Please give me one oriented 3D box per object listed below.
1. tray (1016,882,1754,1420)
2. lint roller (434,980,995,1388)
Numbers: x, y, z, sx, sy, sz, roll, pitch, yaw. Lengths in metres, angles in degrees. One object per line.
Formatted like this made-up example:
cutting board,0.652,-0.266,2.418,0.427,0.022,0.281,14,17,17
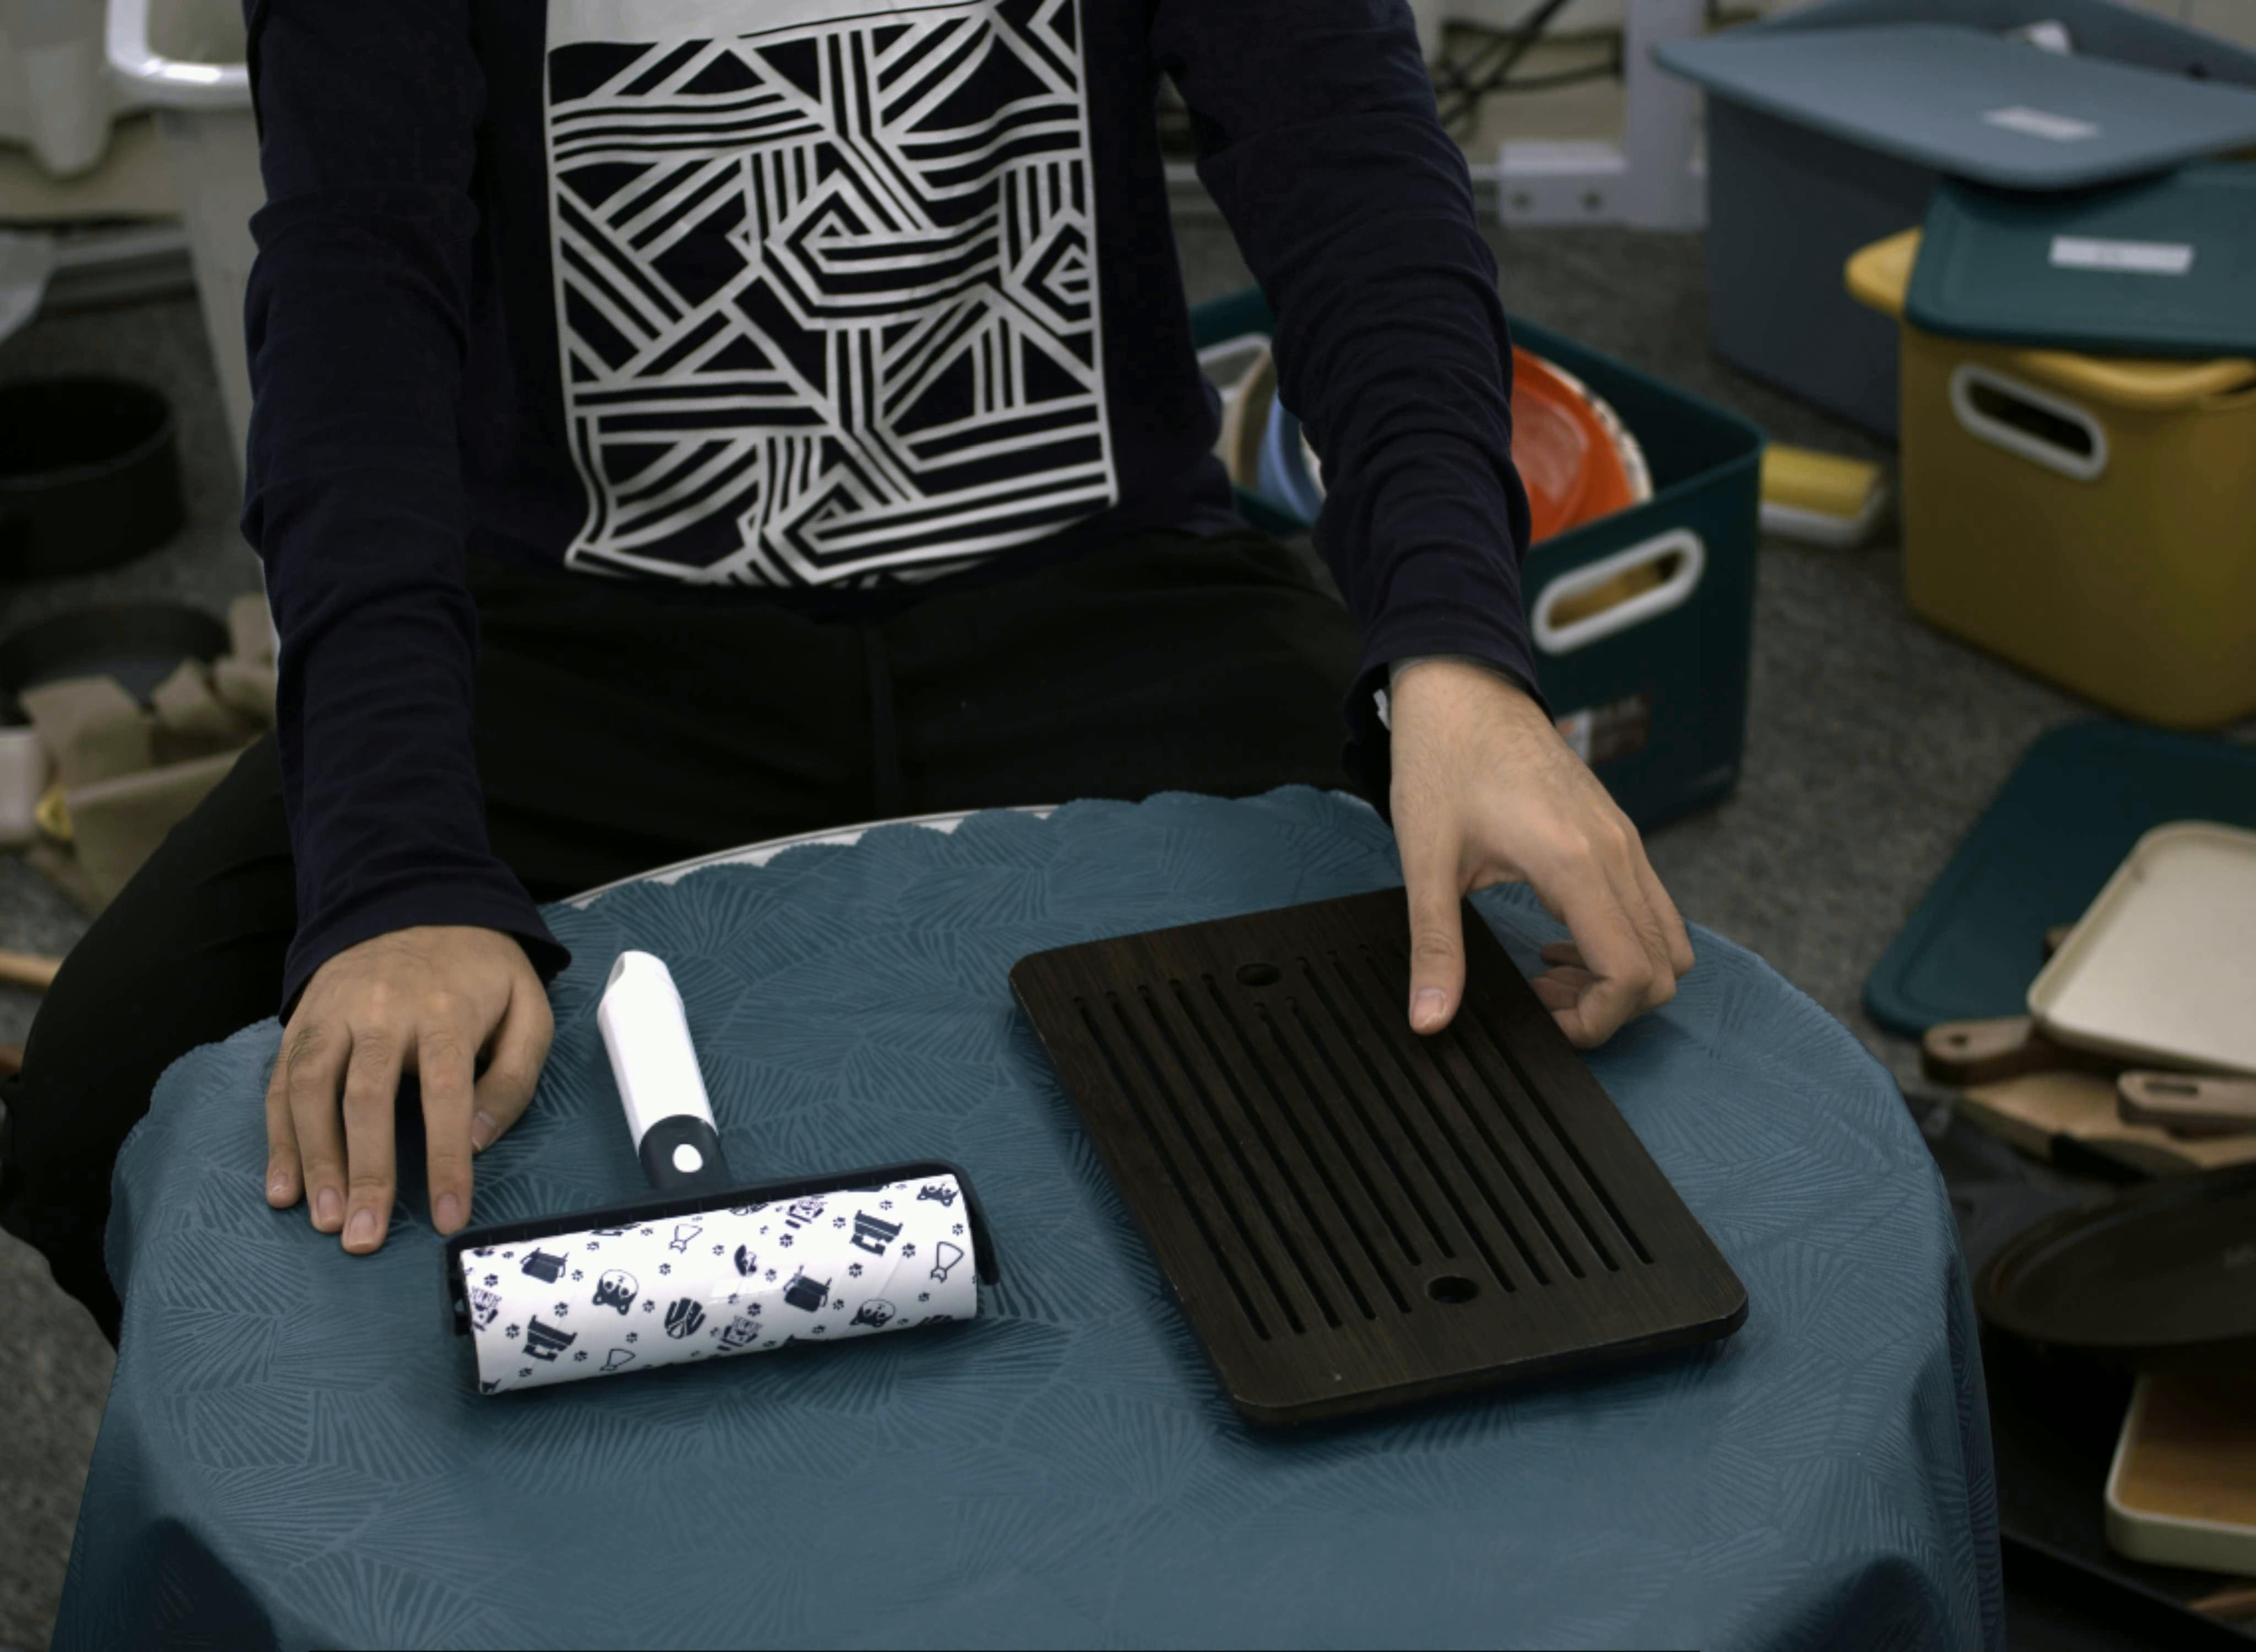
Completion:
tray,0.078,0.105,1.867,0.170,0.018,0.309,-10,27,-12
lint roller,-0.153,0.103,1.868,0.176,0.050,0.249,-9,25,-10
